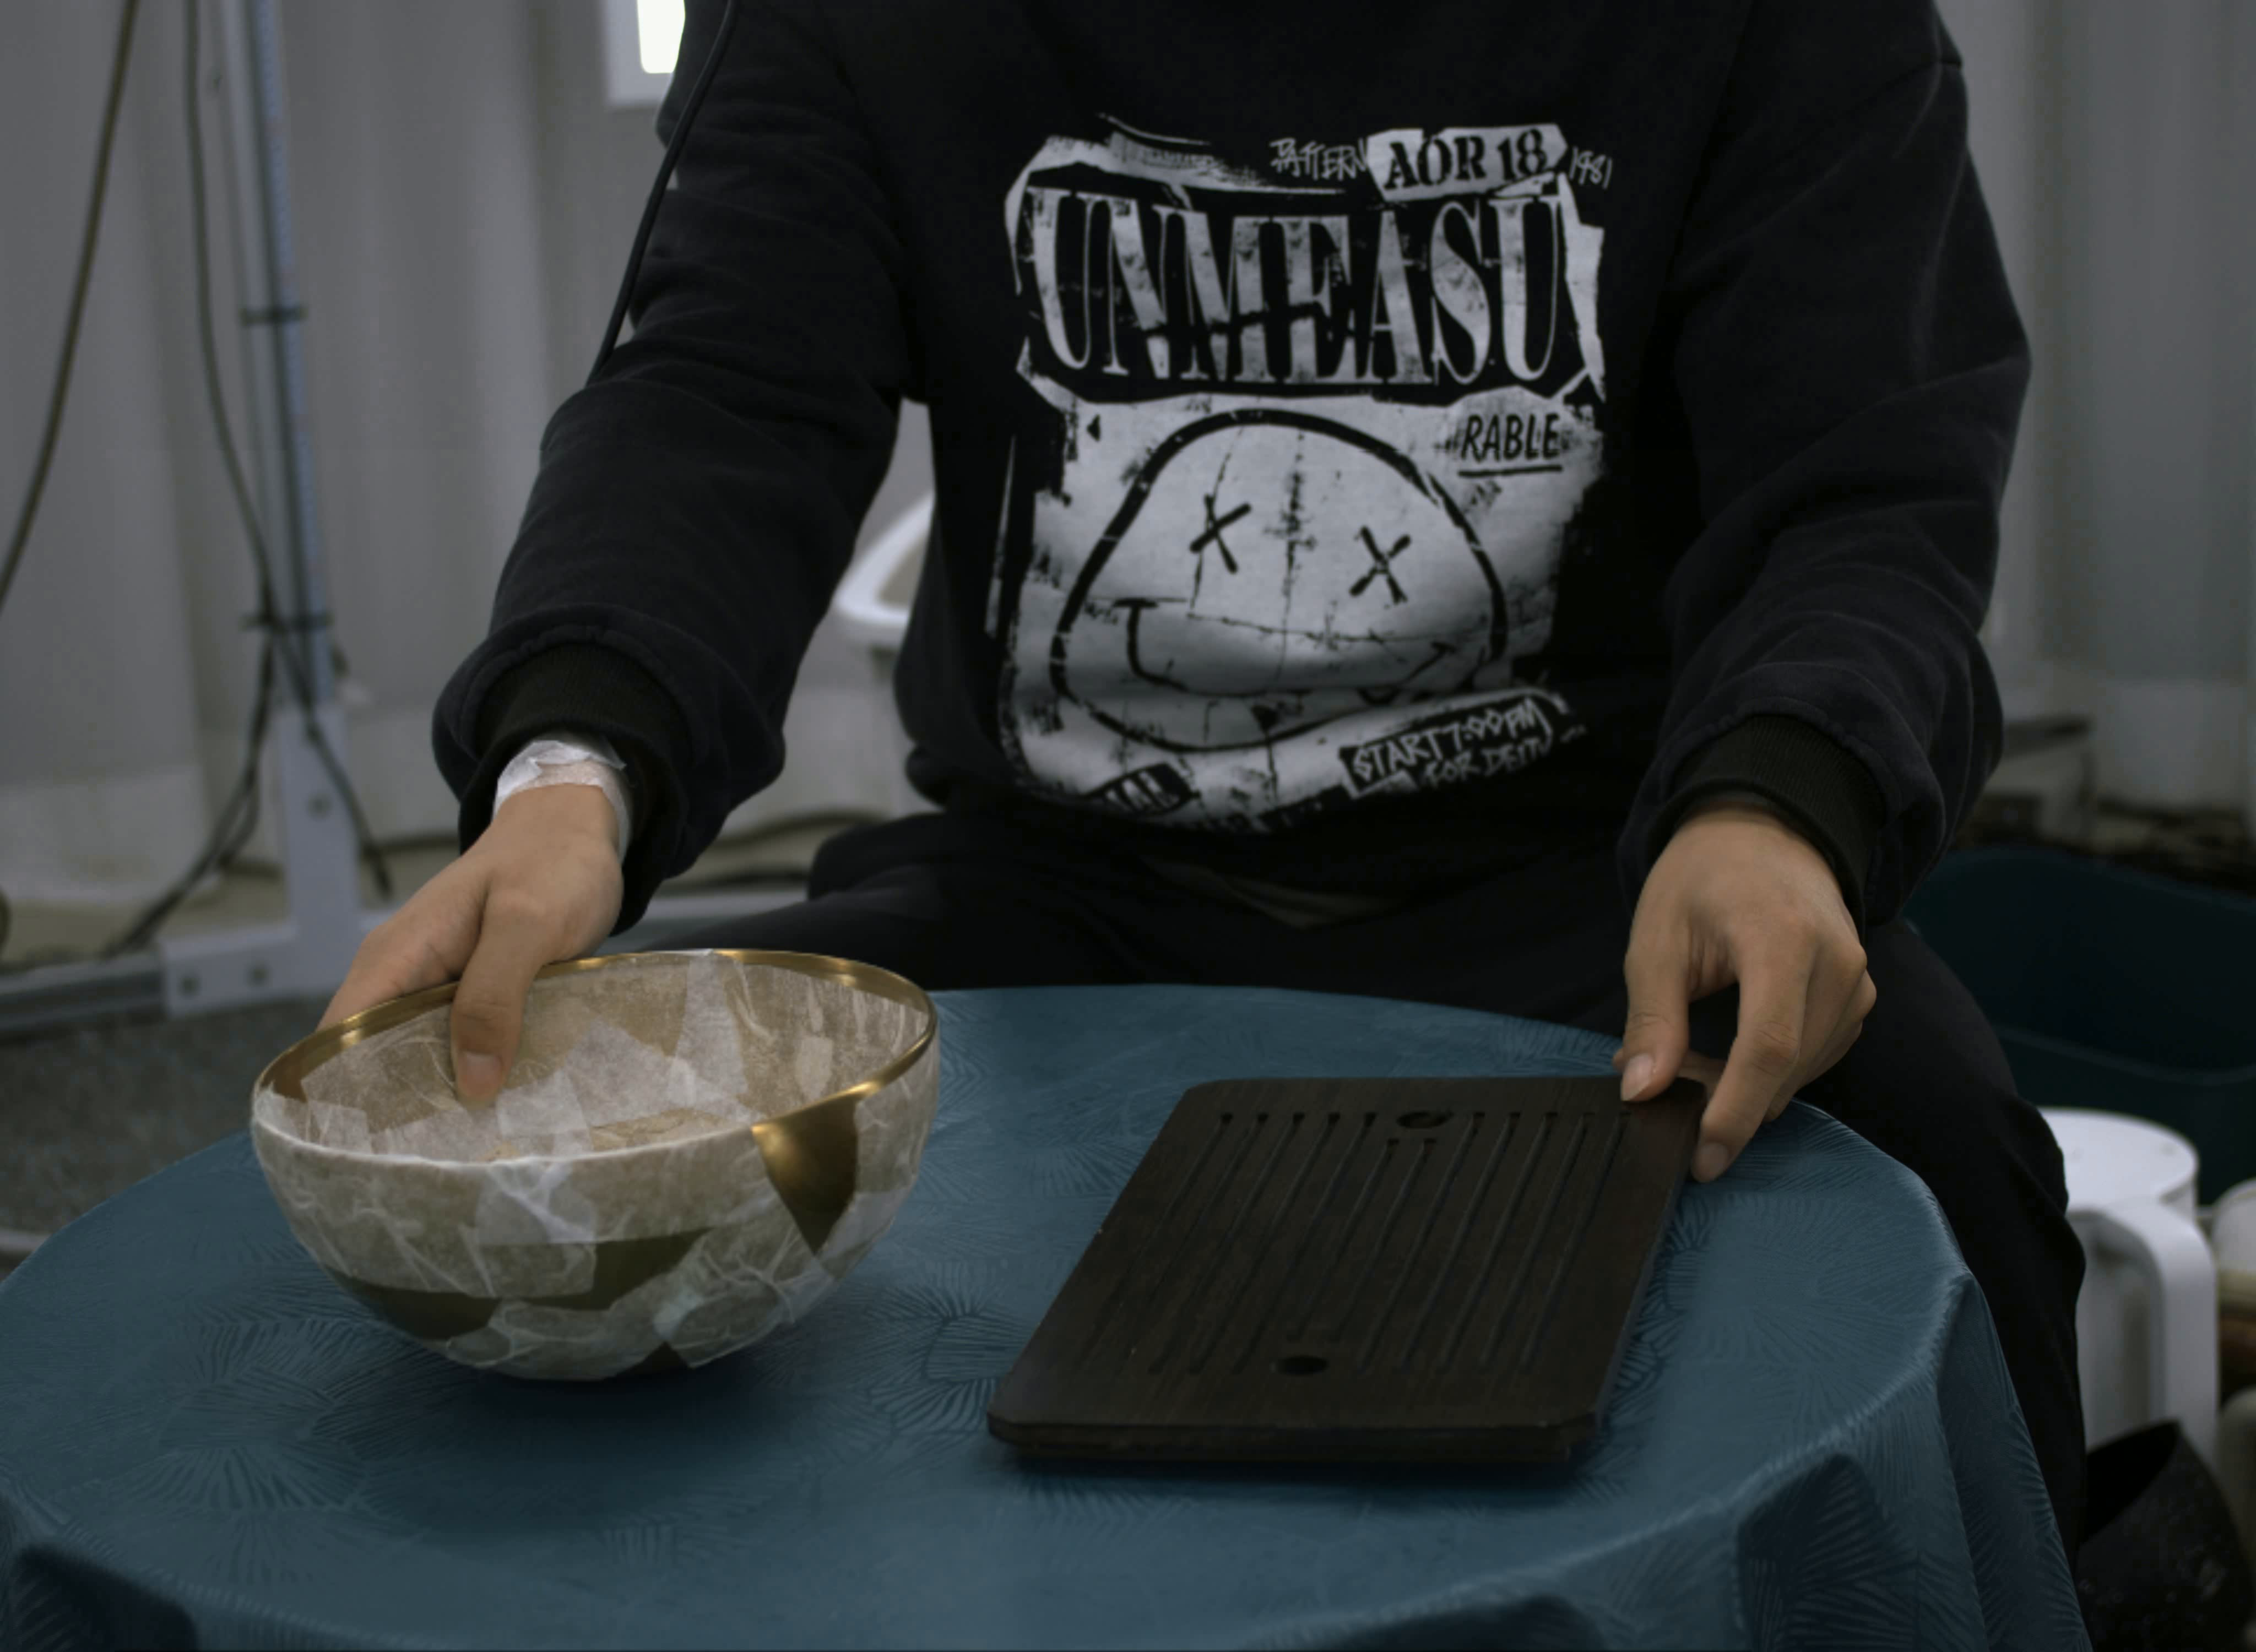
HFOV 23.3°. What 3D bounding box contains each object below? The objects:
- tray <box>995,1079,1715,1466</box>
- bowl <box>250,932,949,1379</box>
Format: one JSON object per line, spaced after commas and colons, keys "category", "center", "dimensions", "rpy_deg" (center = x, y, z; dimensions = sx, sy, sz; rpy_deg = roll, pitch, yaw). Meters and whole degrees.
{"category": "tray", "center": [0.075, 0.129, 1.608], "dimensions": [0.170, 0.018, 0.307], "rpy_deg": [-1, 15, 13]}
{"category": "bowl", "center": [-0.146, 0.105, 1.595], "dimensions": [0.214, 0.094, 0.216], "rpy_deg": [-6, 14, 1]}
